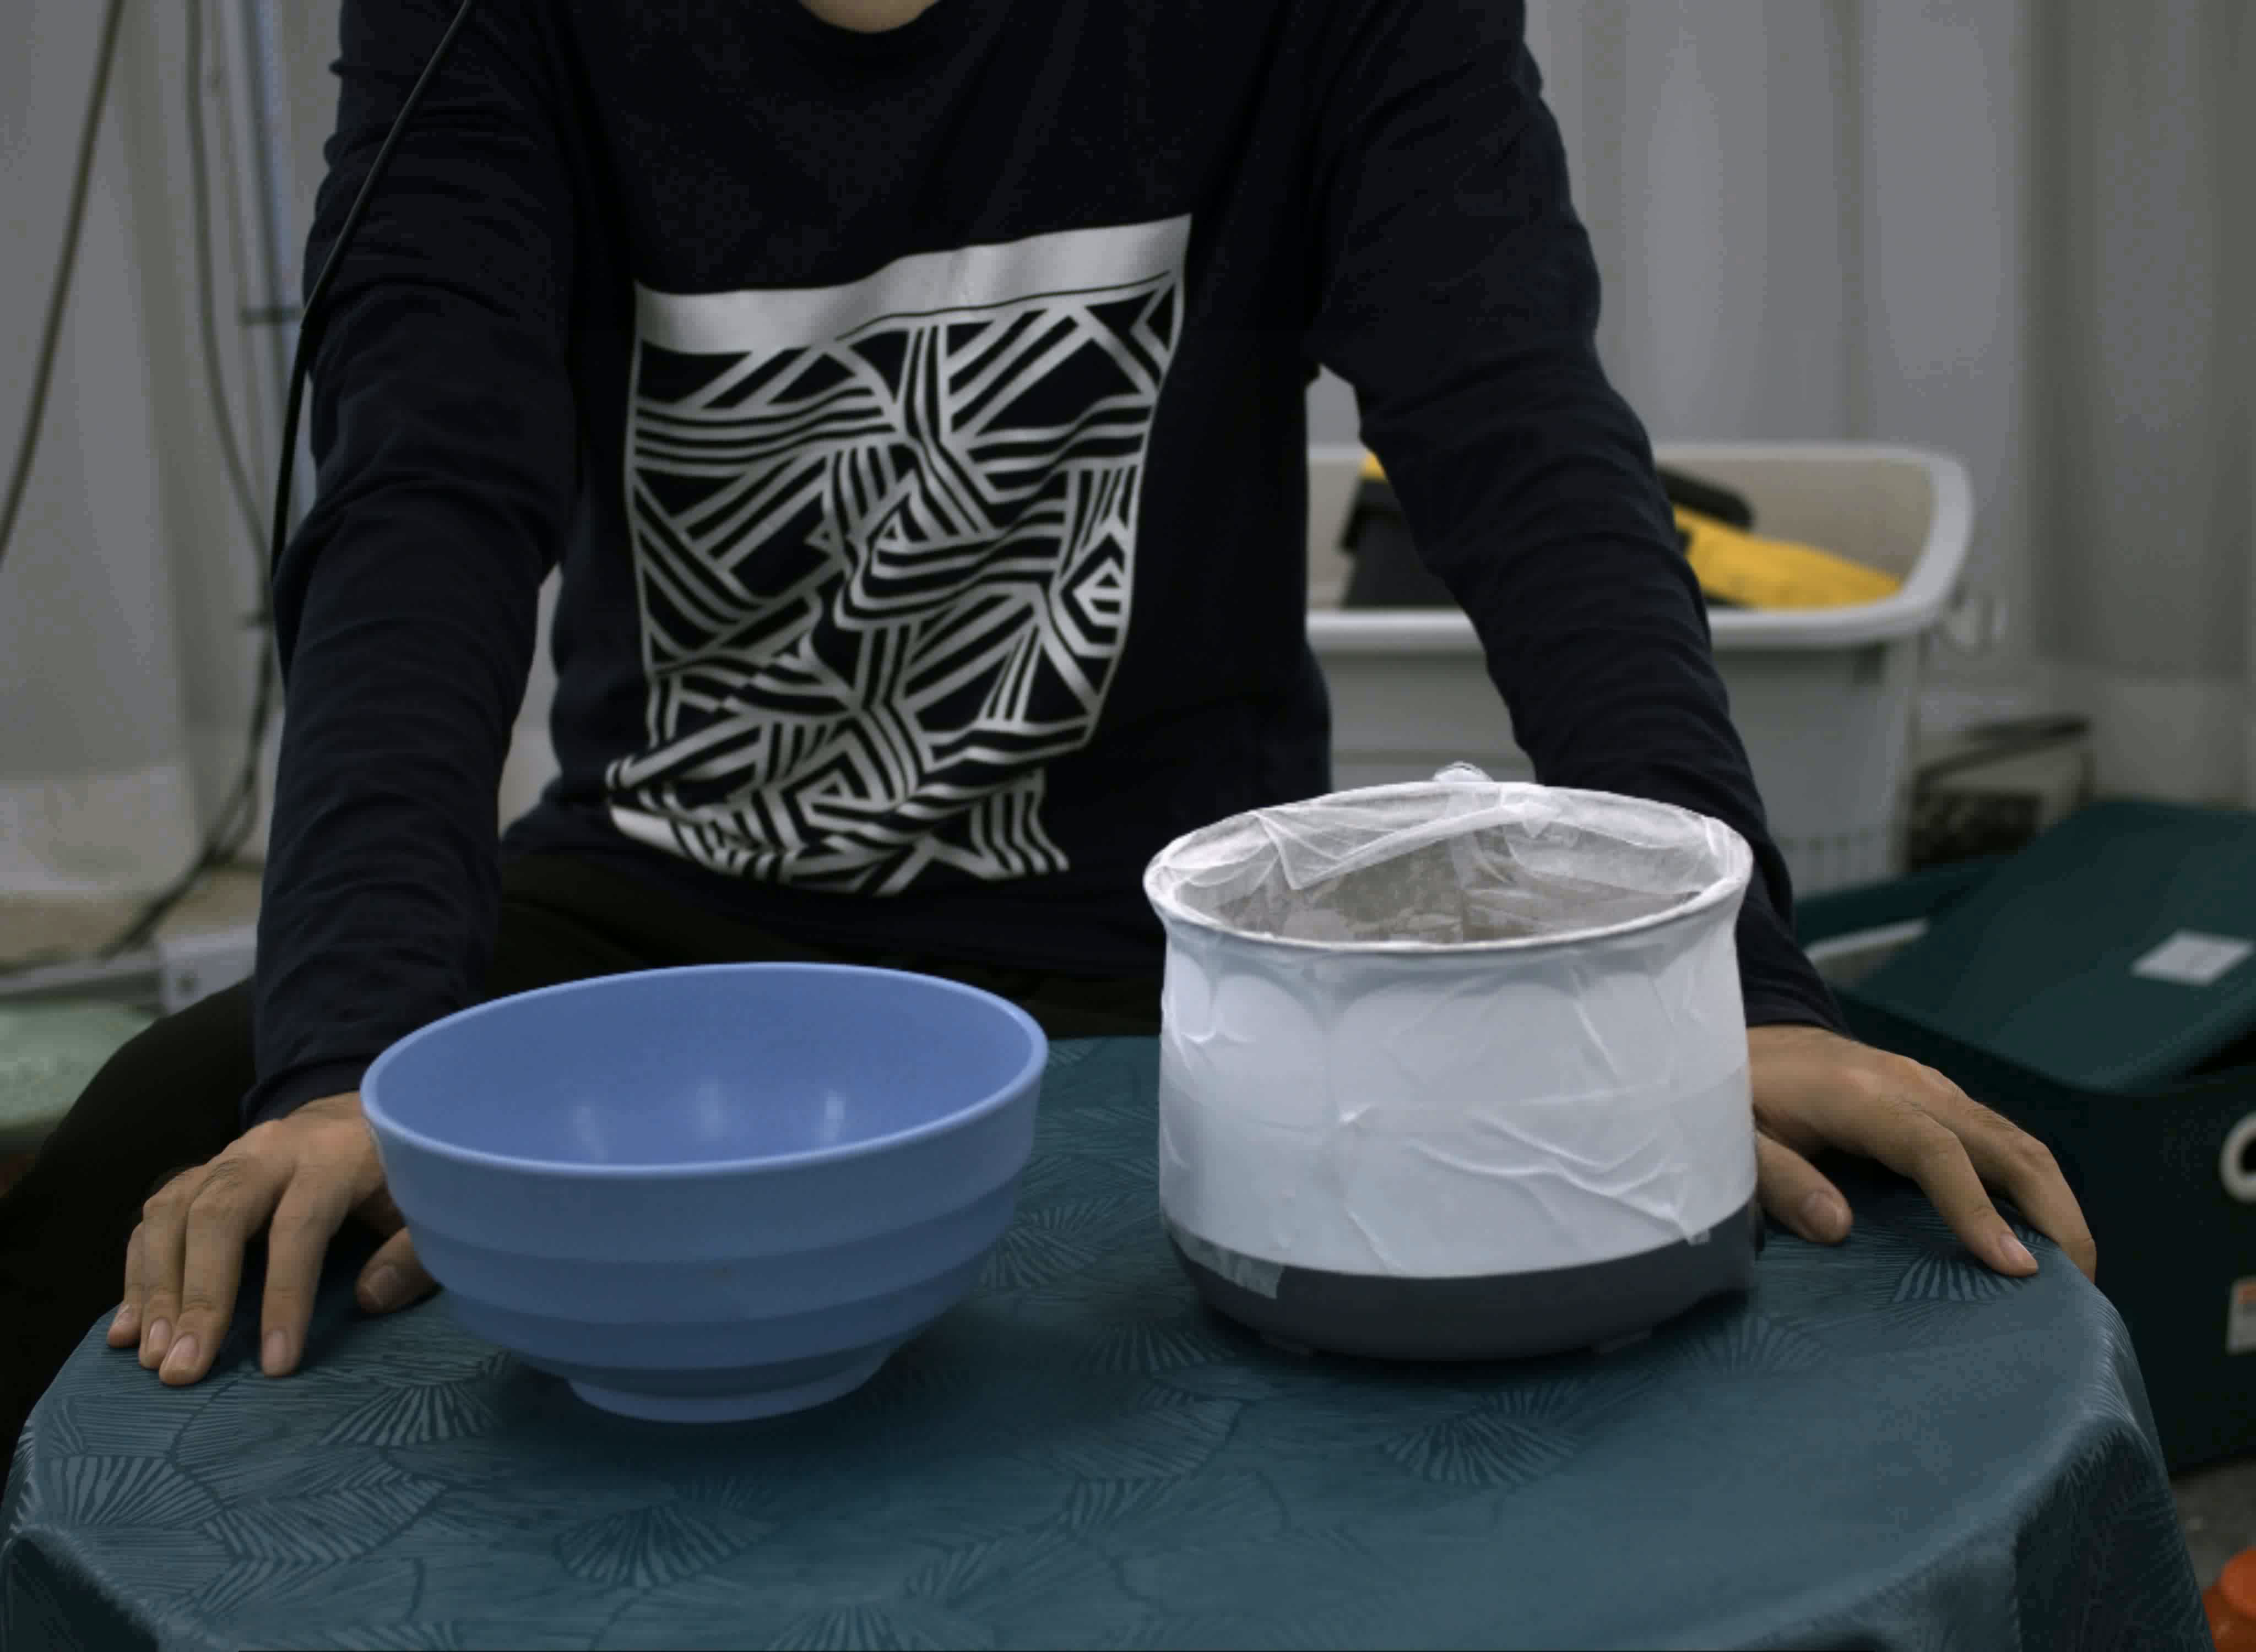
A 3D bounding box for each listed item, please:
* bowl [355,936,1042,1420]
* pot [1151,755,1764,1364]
[{"bbox_3d":[-0.118,0.108,1.567,0.196,0.095,0.198,-5,18,1],"label":"bowl"},{"bbox_3d":[0.097,0.064,1.623,0.178,0.136,0.235,1,15,4],"label":"pot"}]
